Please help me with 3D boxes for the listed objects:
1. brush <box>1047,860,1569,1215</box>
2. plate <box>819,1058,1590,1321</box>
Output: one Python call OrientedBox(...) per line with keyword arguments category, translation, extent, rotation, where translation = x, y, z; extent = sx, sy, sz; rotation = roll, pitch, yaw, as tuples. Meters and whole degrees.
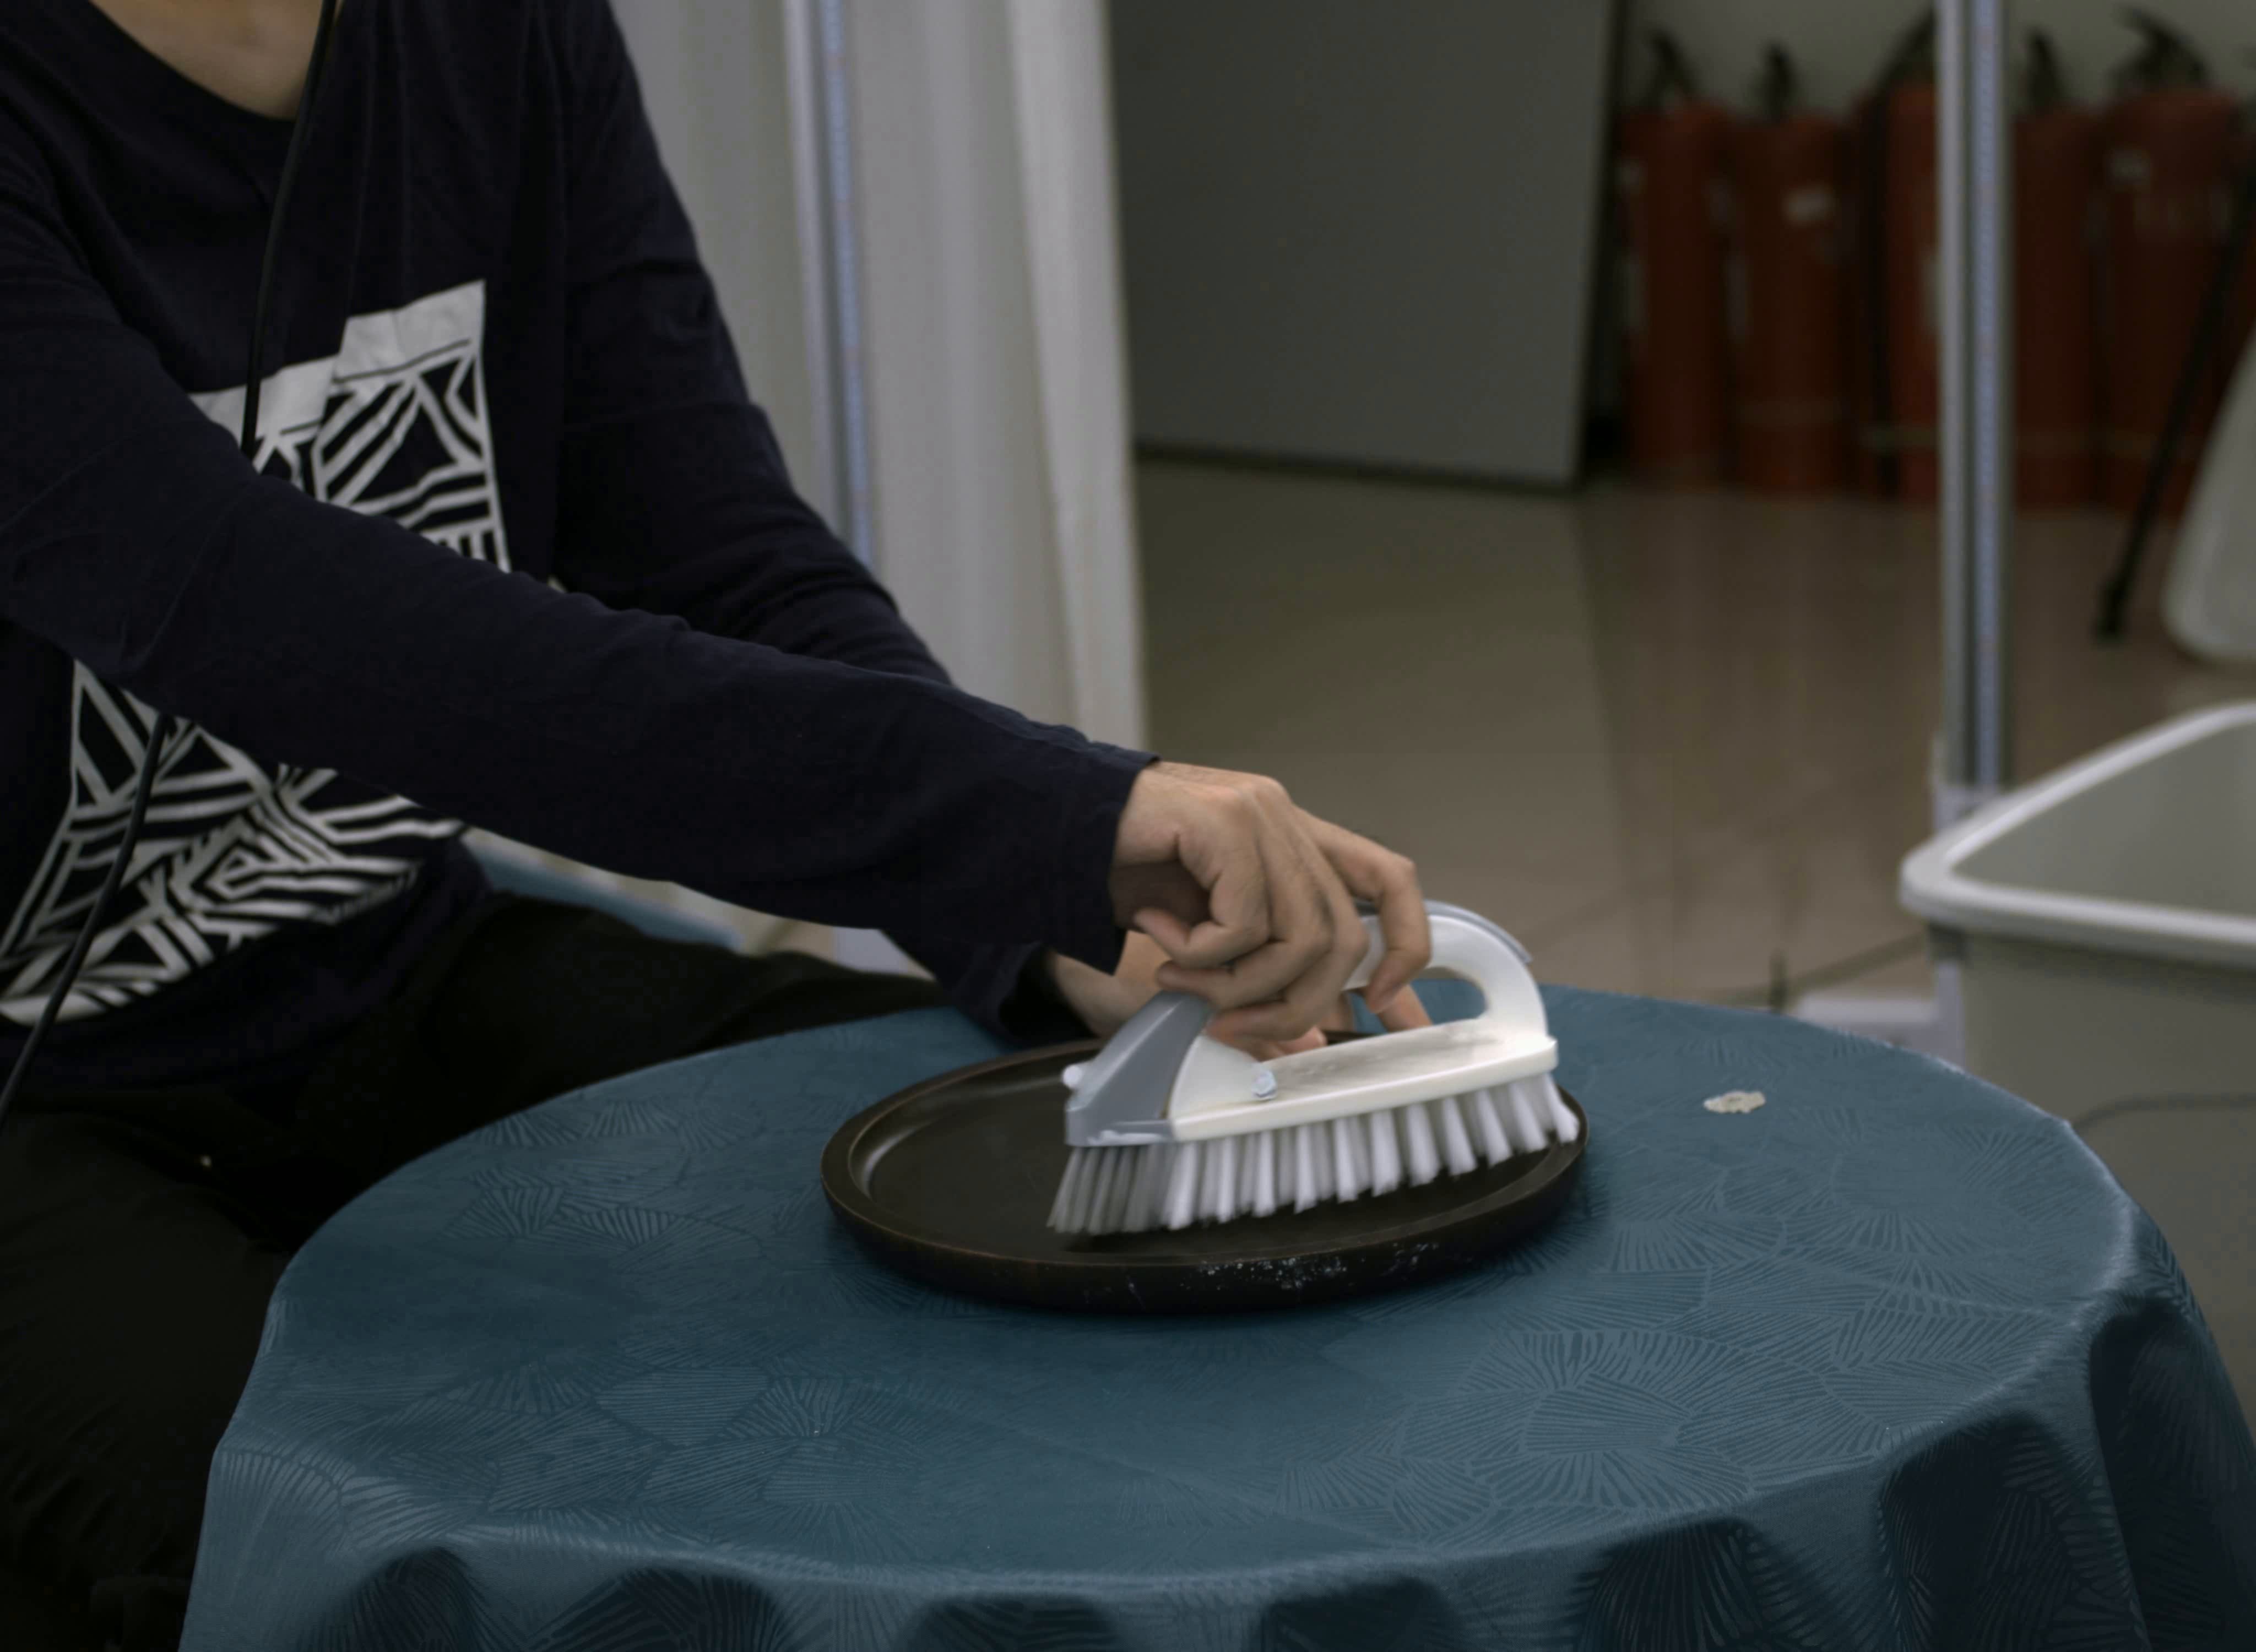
OrientedBox(category="brush", translation=(0.051, 0.065, 1.702), extent=(0.172, 0.095, 0.062), rotation=(-12, 12, -15))
OrientedBox(category="plate", translation=(0.025, 0.113, 1.754), extent=(0.251, 0.029, 0.255), rotation=(-3, 15, 0))
